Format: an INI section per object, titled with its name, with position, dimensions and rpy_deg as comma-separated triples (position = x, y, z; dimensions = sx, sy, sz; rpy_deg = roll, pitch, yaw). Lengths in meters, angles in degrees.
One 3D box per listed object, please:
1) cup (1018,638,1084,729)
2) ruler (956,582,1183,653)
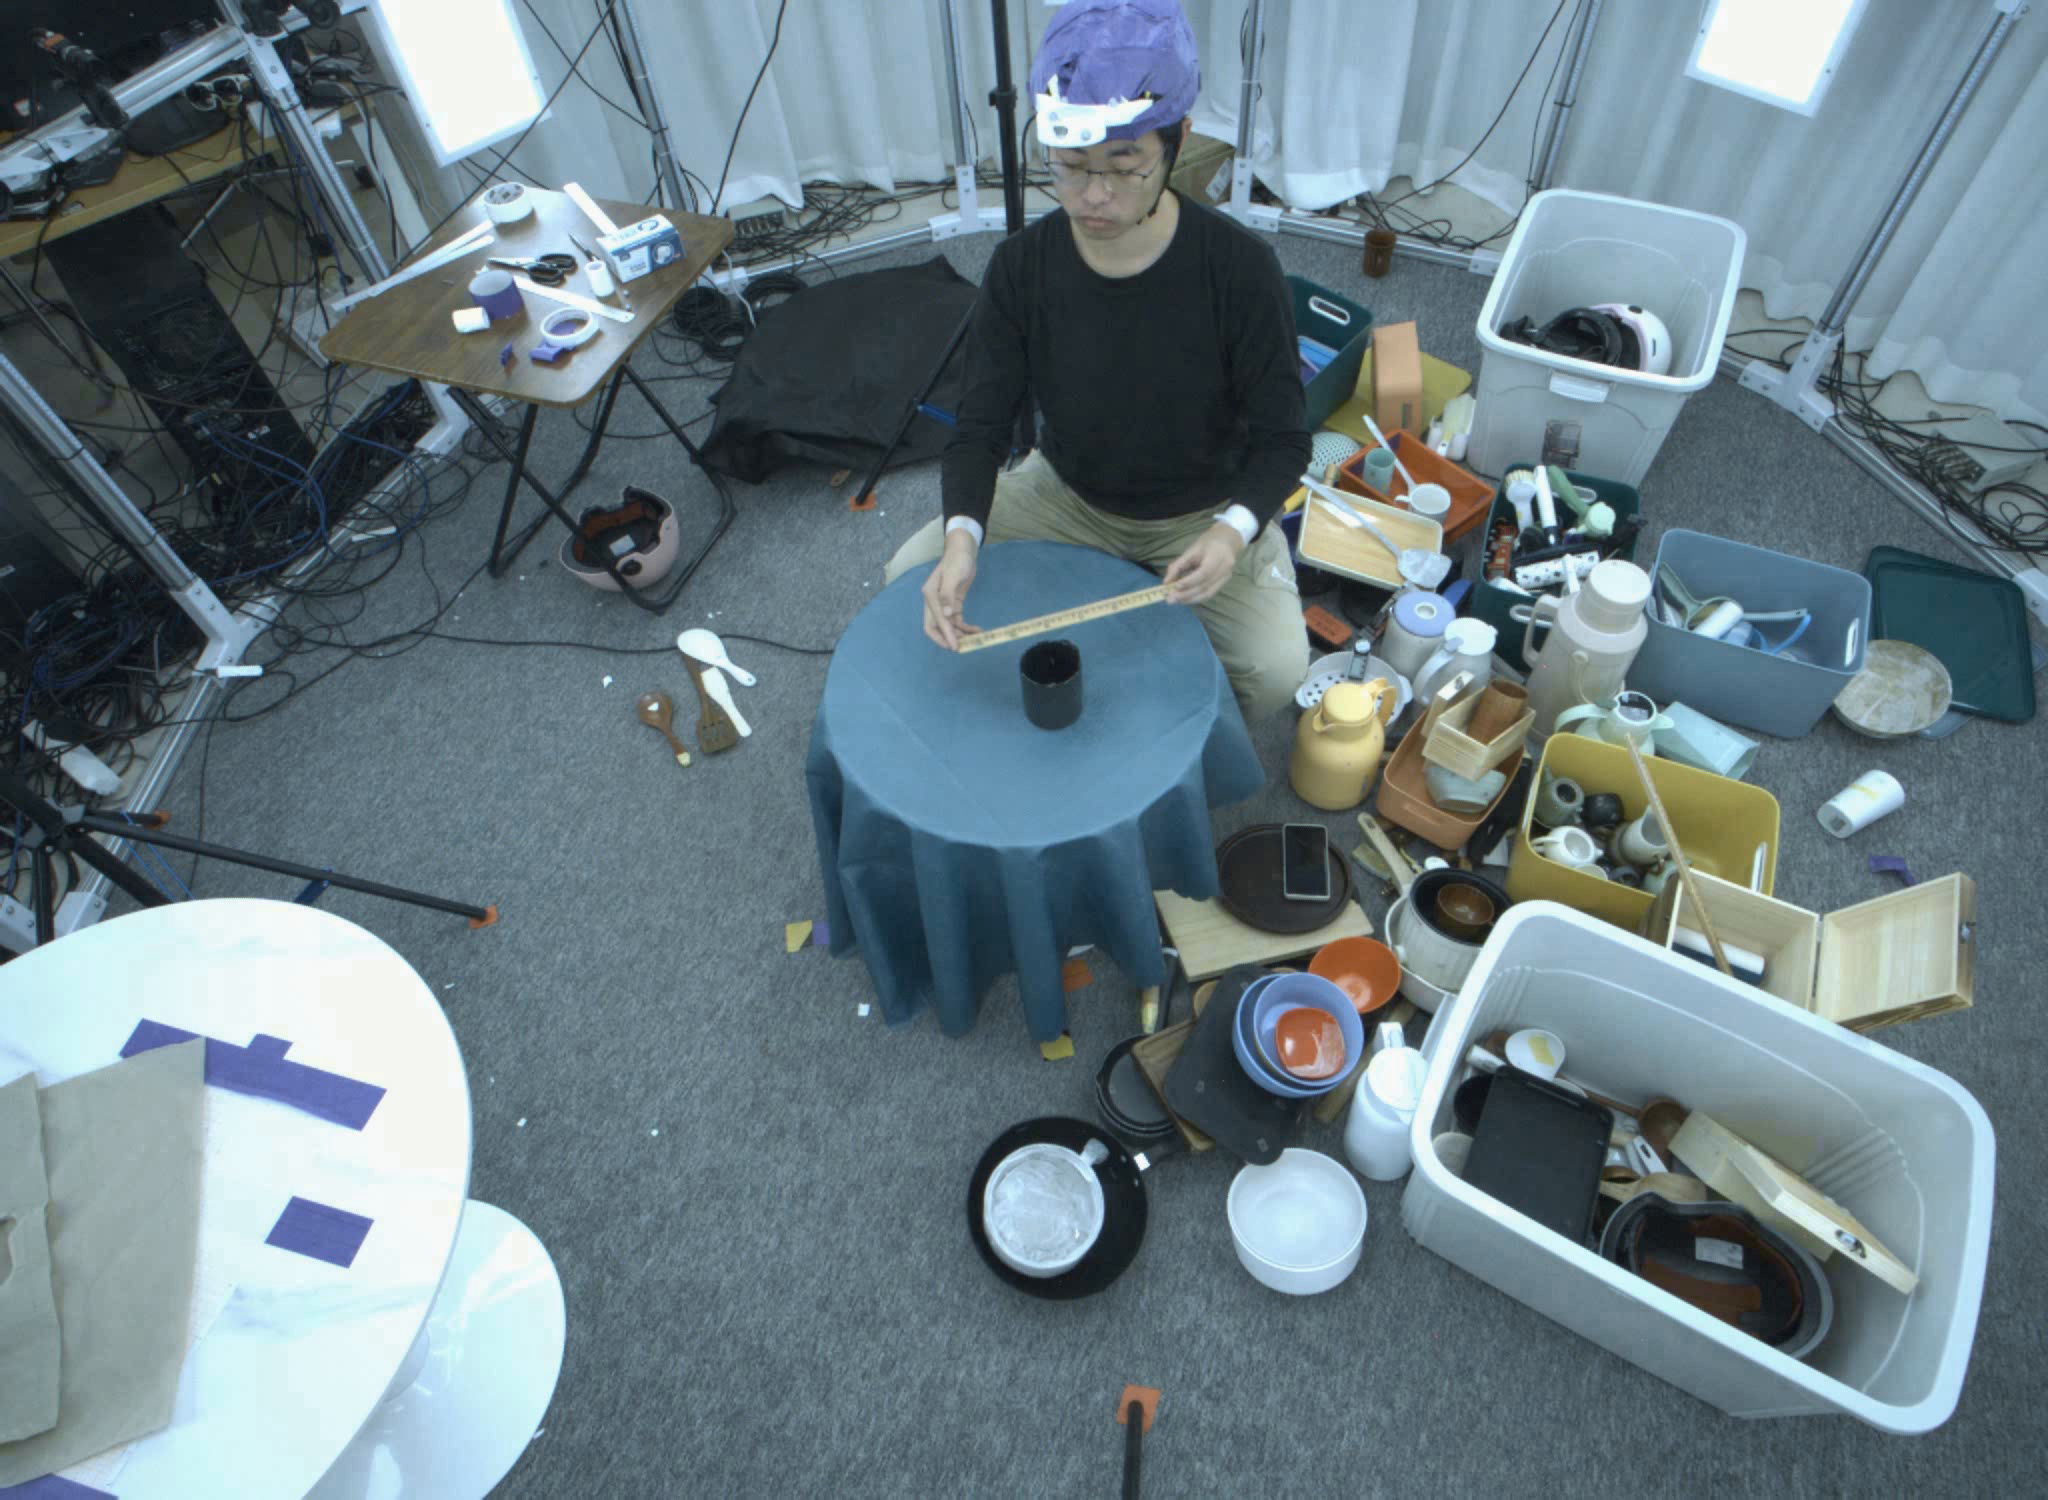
[cup]
position = 0.046, -0.109, 1.799
dimensions = 0.088, 0.106, 0.123
rpy_deg = 14, 58, 15
[ruler]
position = 0.063, -0.193, 1.762
dimensions = 0.331, 0.022, 0.027
rpy_deg = -14, 67, 2
